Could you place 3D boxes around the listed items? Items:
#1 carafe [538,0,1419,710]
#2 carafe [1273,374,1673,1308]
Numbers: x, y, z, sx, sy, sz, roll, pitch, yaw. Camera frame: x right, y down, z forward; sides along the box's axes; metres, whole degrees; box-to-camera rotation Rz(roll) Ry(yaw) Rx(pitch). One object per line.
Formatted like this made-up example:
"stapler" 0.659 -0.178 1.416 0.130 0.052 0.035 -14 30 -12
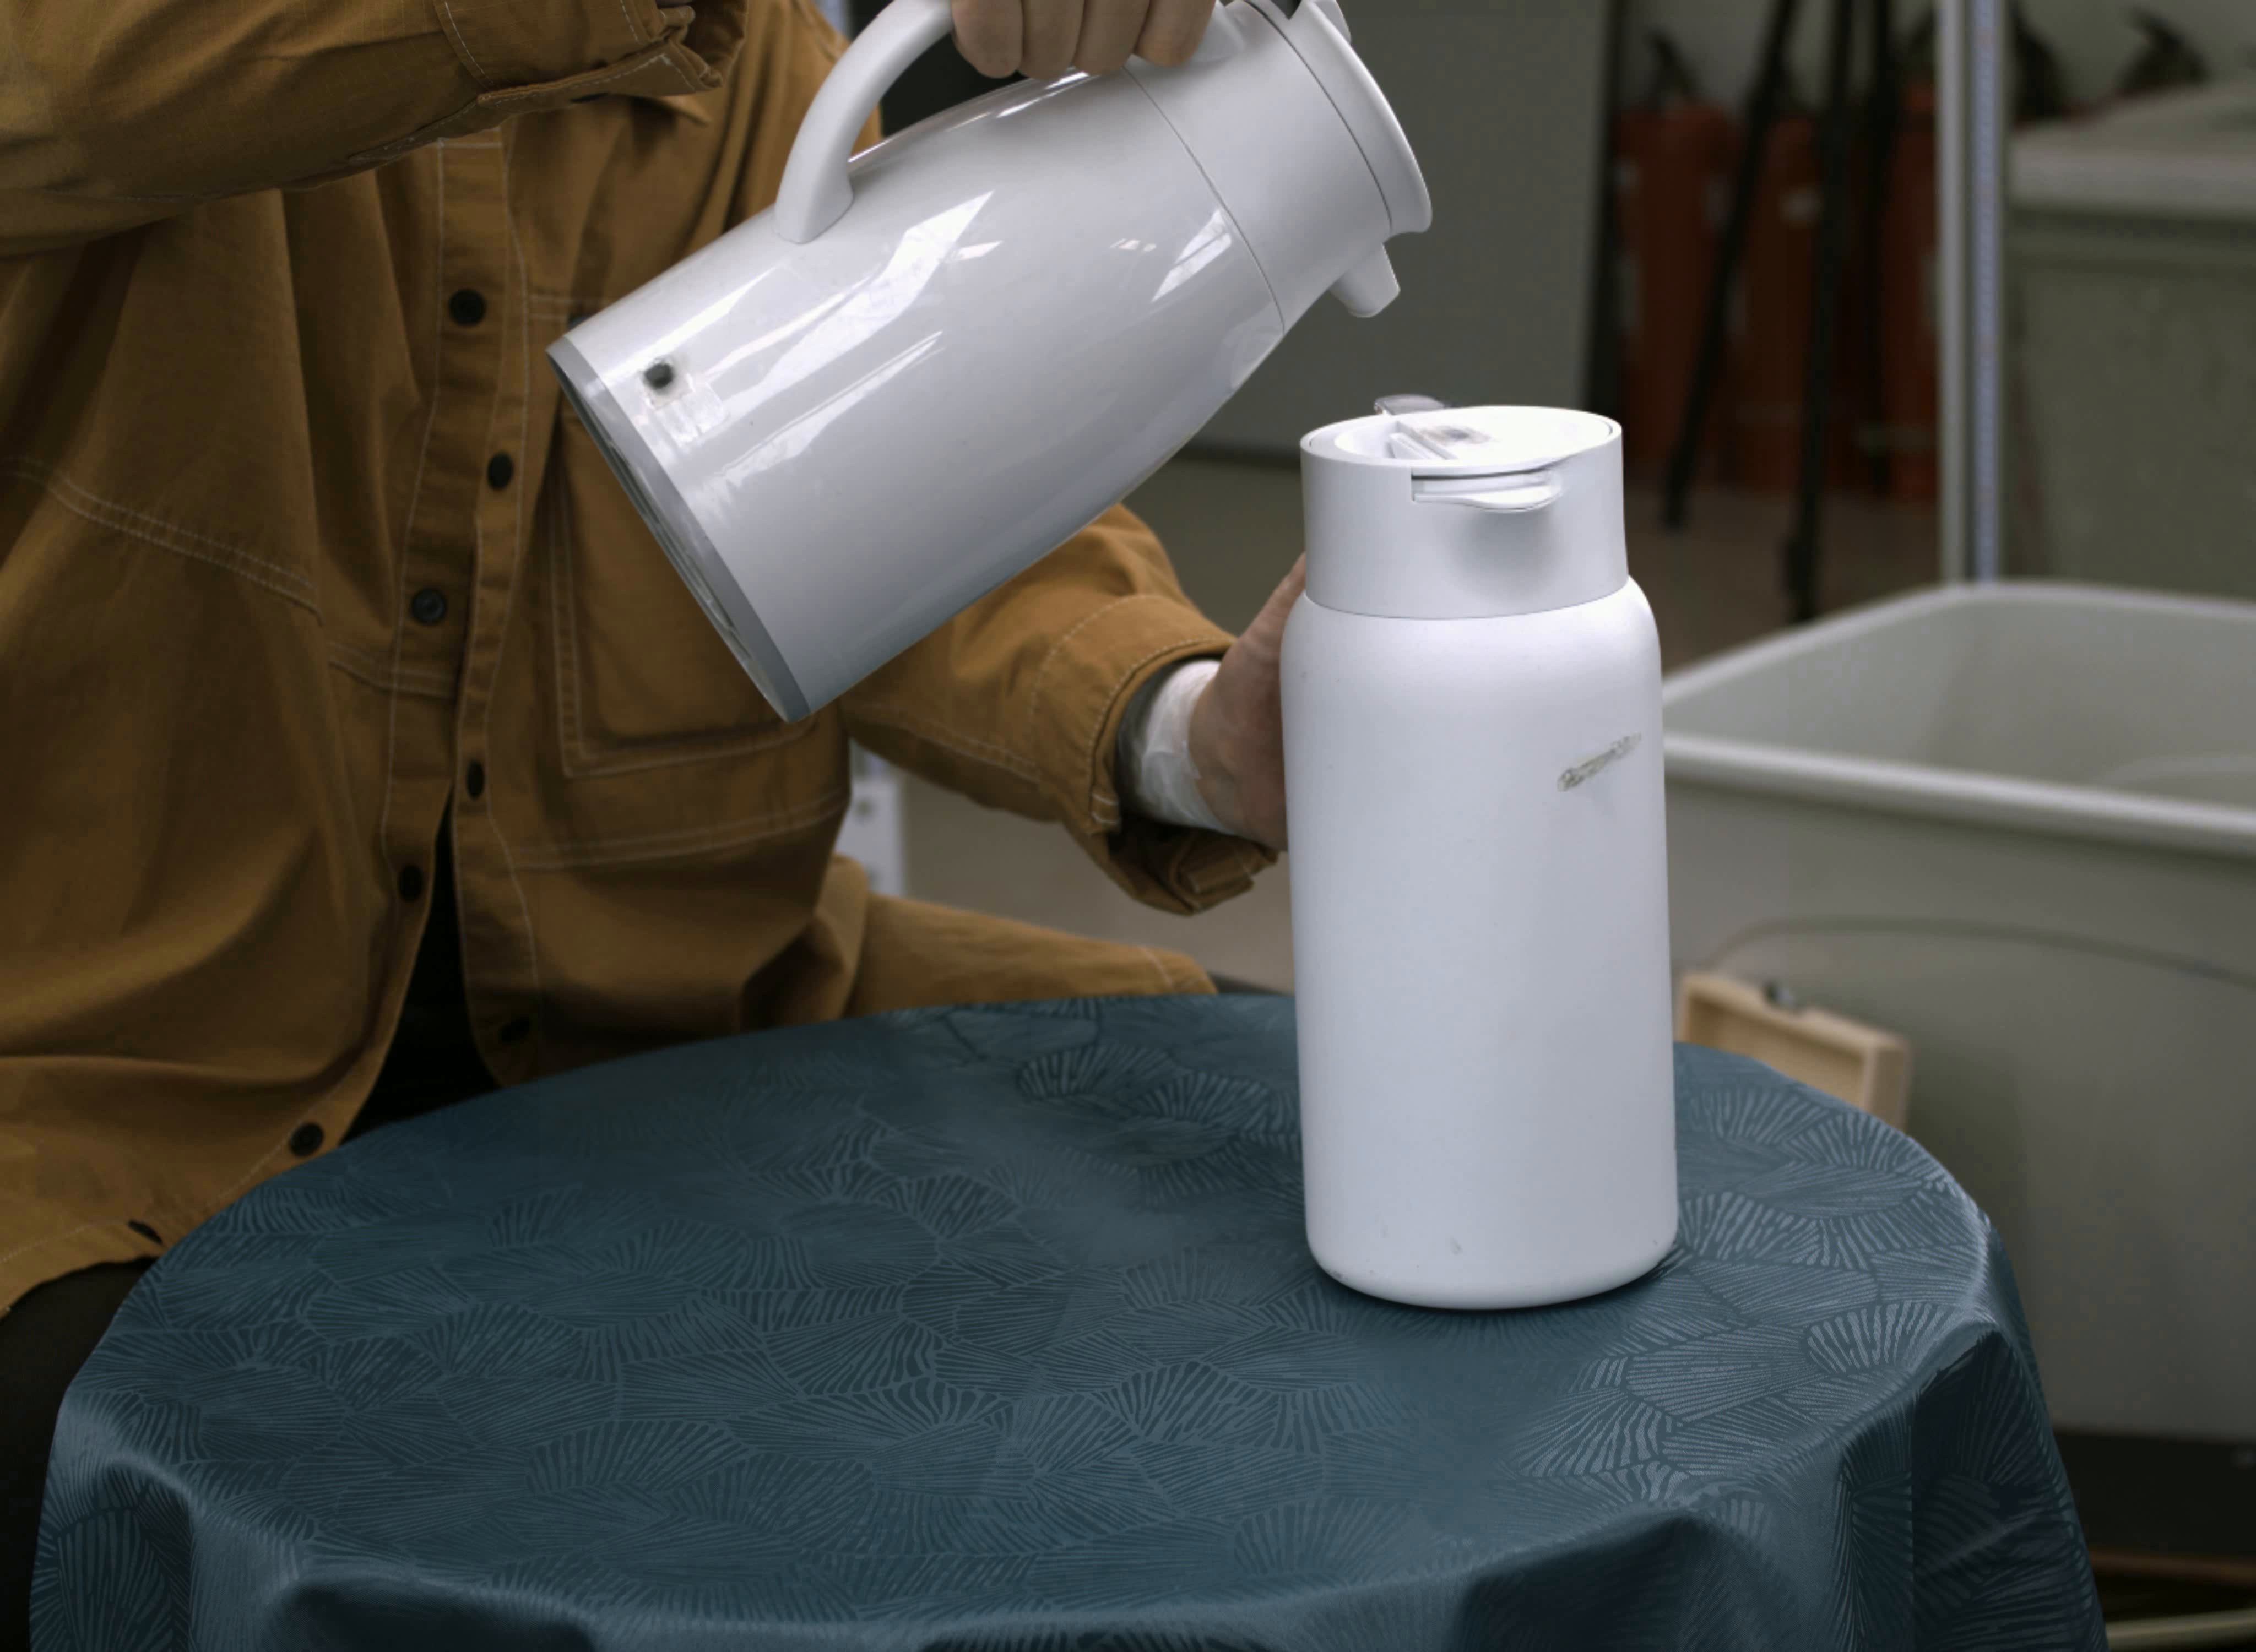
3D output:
"carafe" -0.042 -0.170 1.564 0.247 0.167 0.134 -34 34 -4
"carafe" 0.100 0.001 1.669 0.121 0.272 0.174 -8 14 -10
